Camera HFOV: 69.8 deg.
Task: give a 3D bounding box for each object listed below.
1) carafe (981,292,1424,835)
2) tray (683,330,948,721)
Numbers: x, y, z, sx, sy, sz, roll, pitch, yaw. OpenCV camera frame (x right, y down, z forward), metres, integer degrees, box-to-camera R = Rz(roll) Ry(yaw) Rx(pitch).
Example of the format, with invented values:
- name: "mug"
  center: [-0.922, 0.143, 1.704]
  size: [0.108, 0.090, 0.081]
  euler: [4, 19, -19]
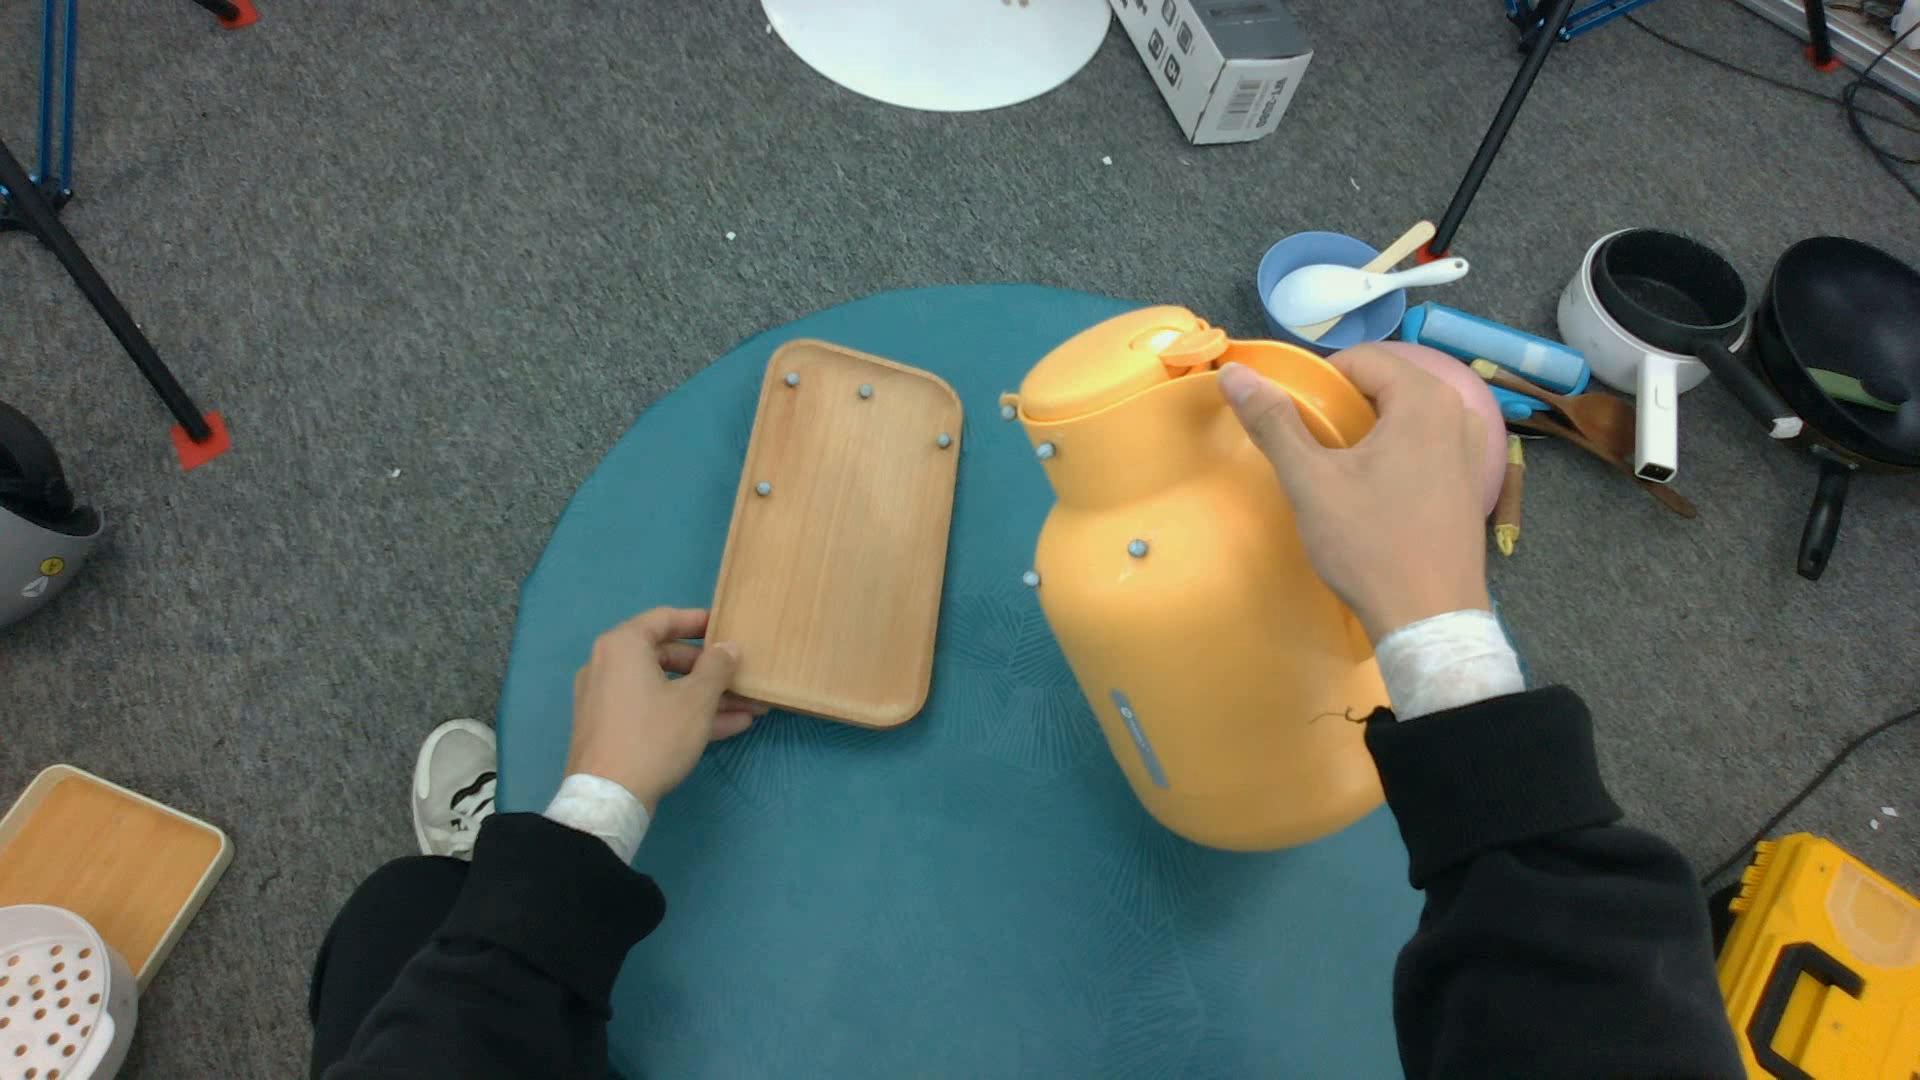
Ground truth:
- name: "carafe"
  center: [0.124, 0.009, 0.661]
  size: [0.164, 0.202, 0.260]
  euler: [-44, 115, -29]
- name: "tray"
  center: [-0.079, -0.015, 0.808]
  size: [0.130, 0.023, 0.252]
  euler: [14, 57, -10]
